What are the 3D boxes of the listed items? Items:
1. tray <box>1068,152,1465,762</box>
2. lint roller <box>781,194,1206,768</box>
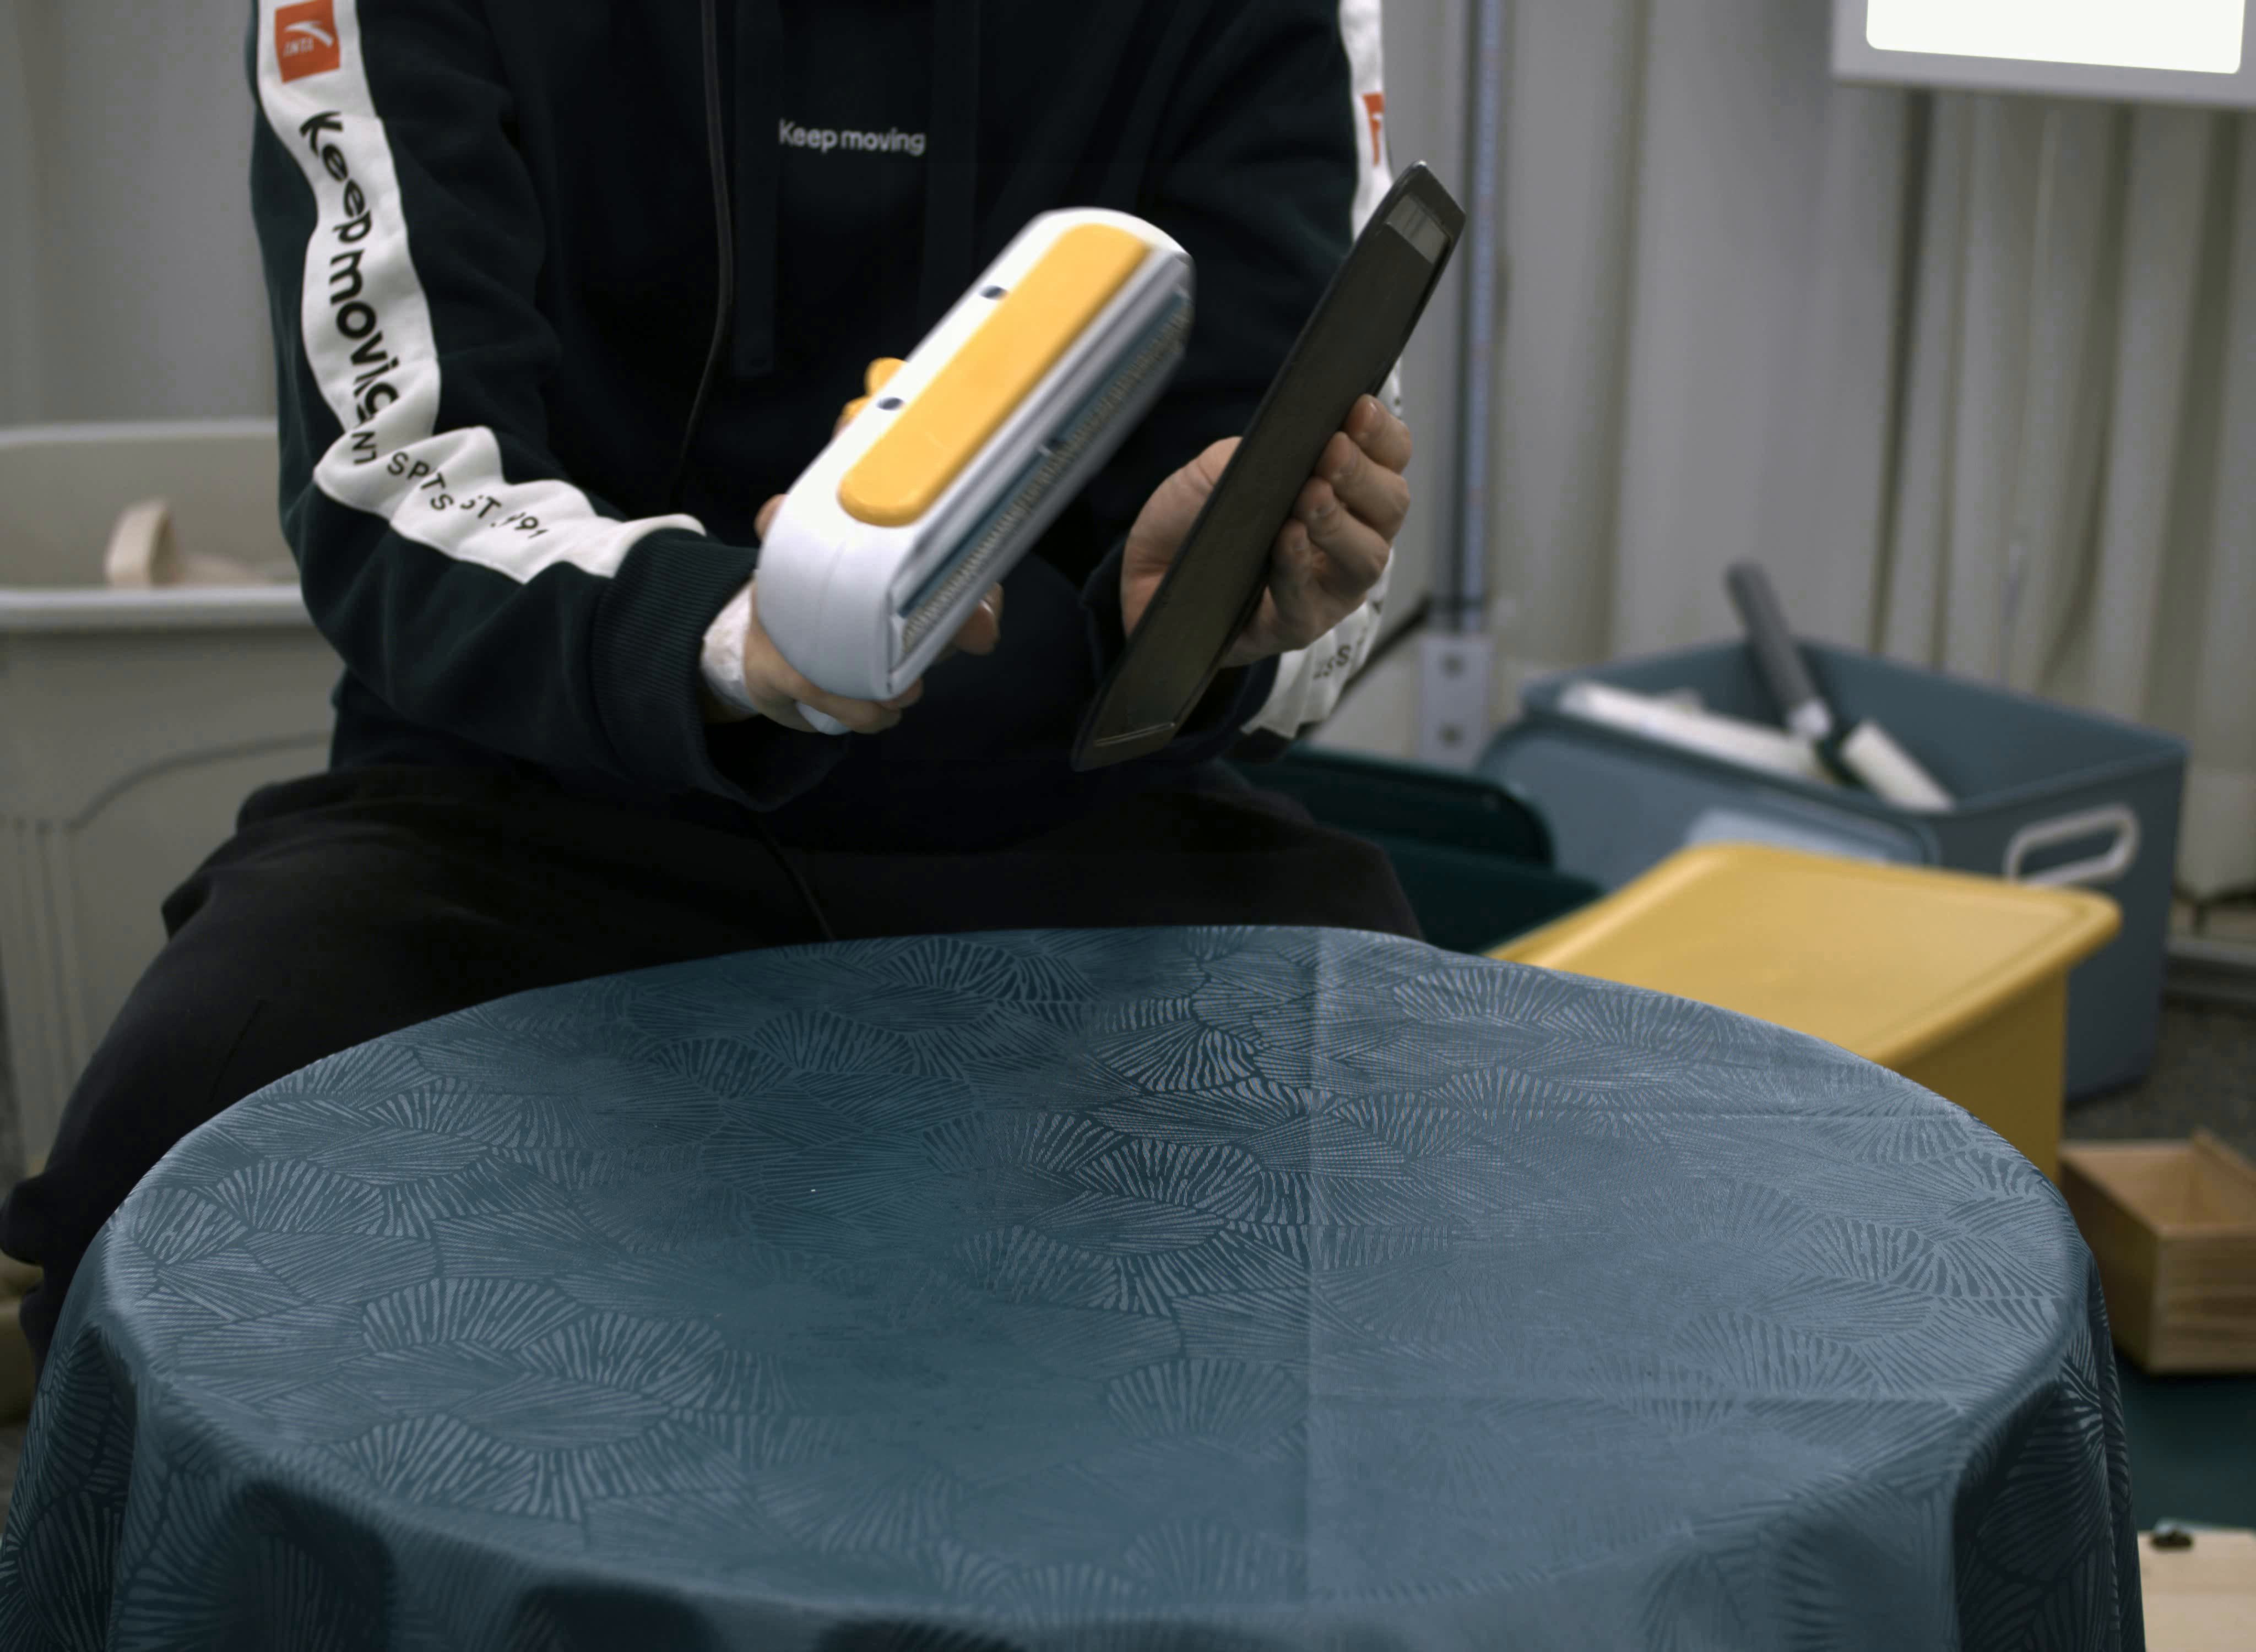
[{"bbox_3d":[0.050,-0.113,1.684,0.010,0.211,0.326,30,5,5],"label":"tray"},{"bbox_3d":[-0.055,-0.083,1.616,0.074,0.194,0.192,27,48,9],"label":"lint roller"}]
